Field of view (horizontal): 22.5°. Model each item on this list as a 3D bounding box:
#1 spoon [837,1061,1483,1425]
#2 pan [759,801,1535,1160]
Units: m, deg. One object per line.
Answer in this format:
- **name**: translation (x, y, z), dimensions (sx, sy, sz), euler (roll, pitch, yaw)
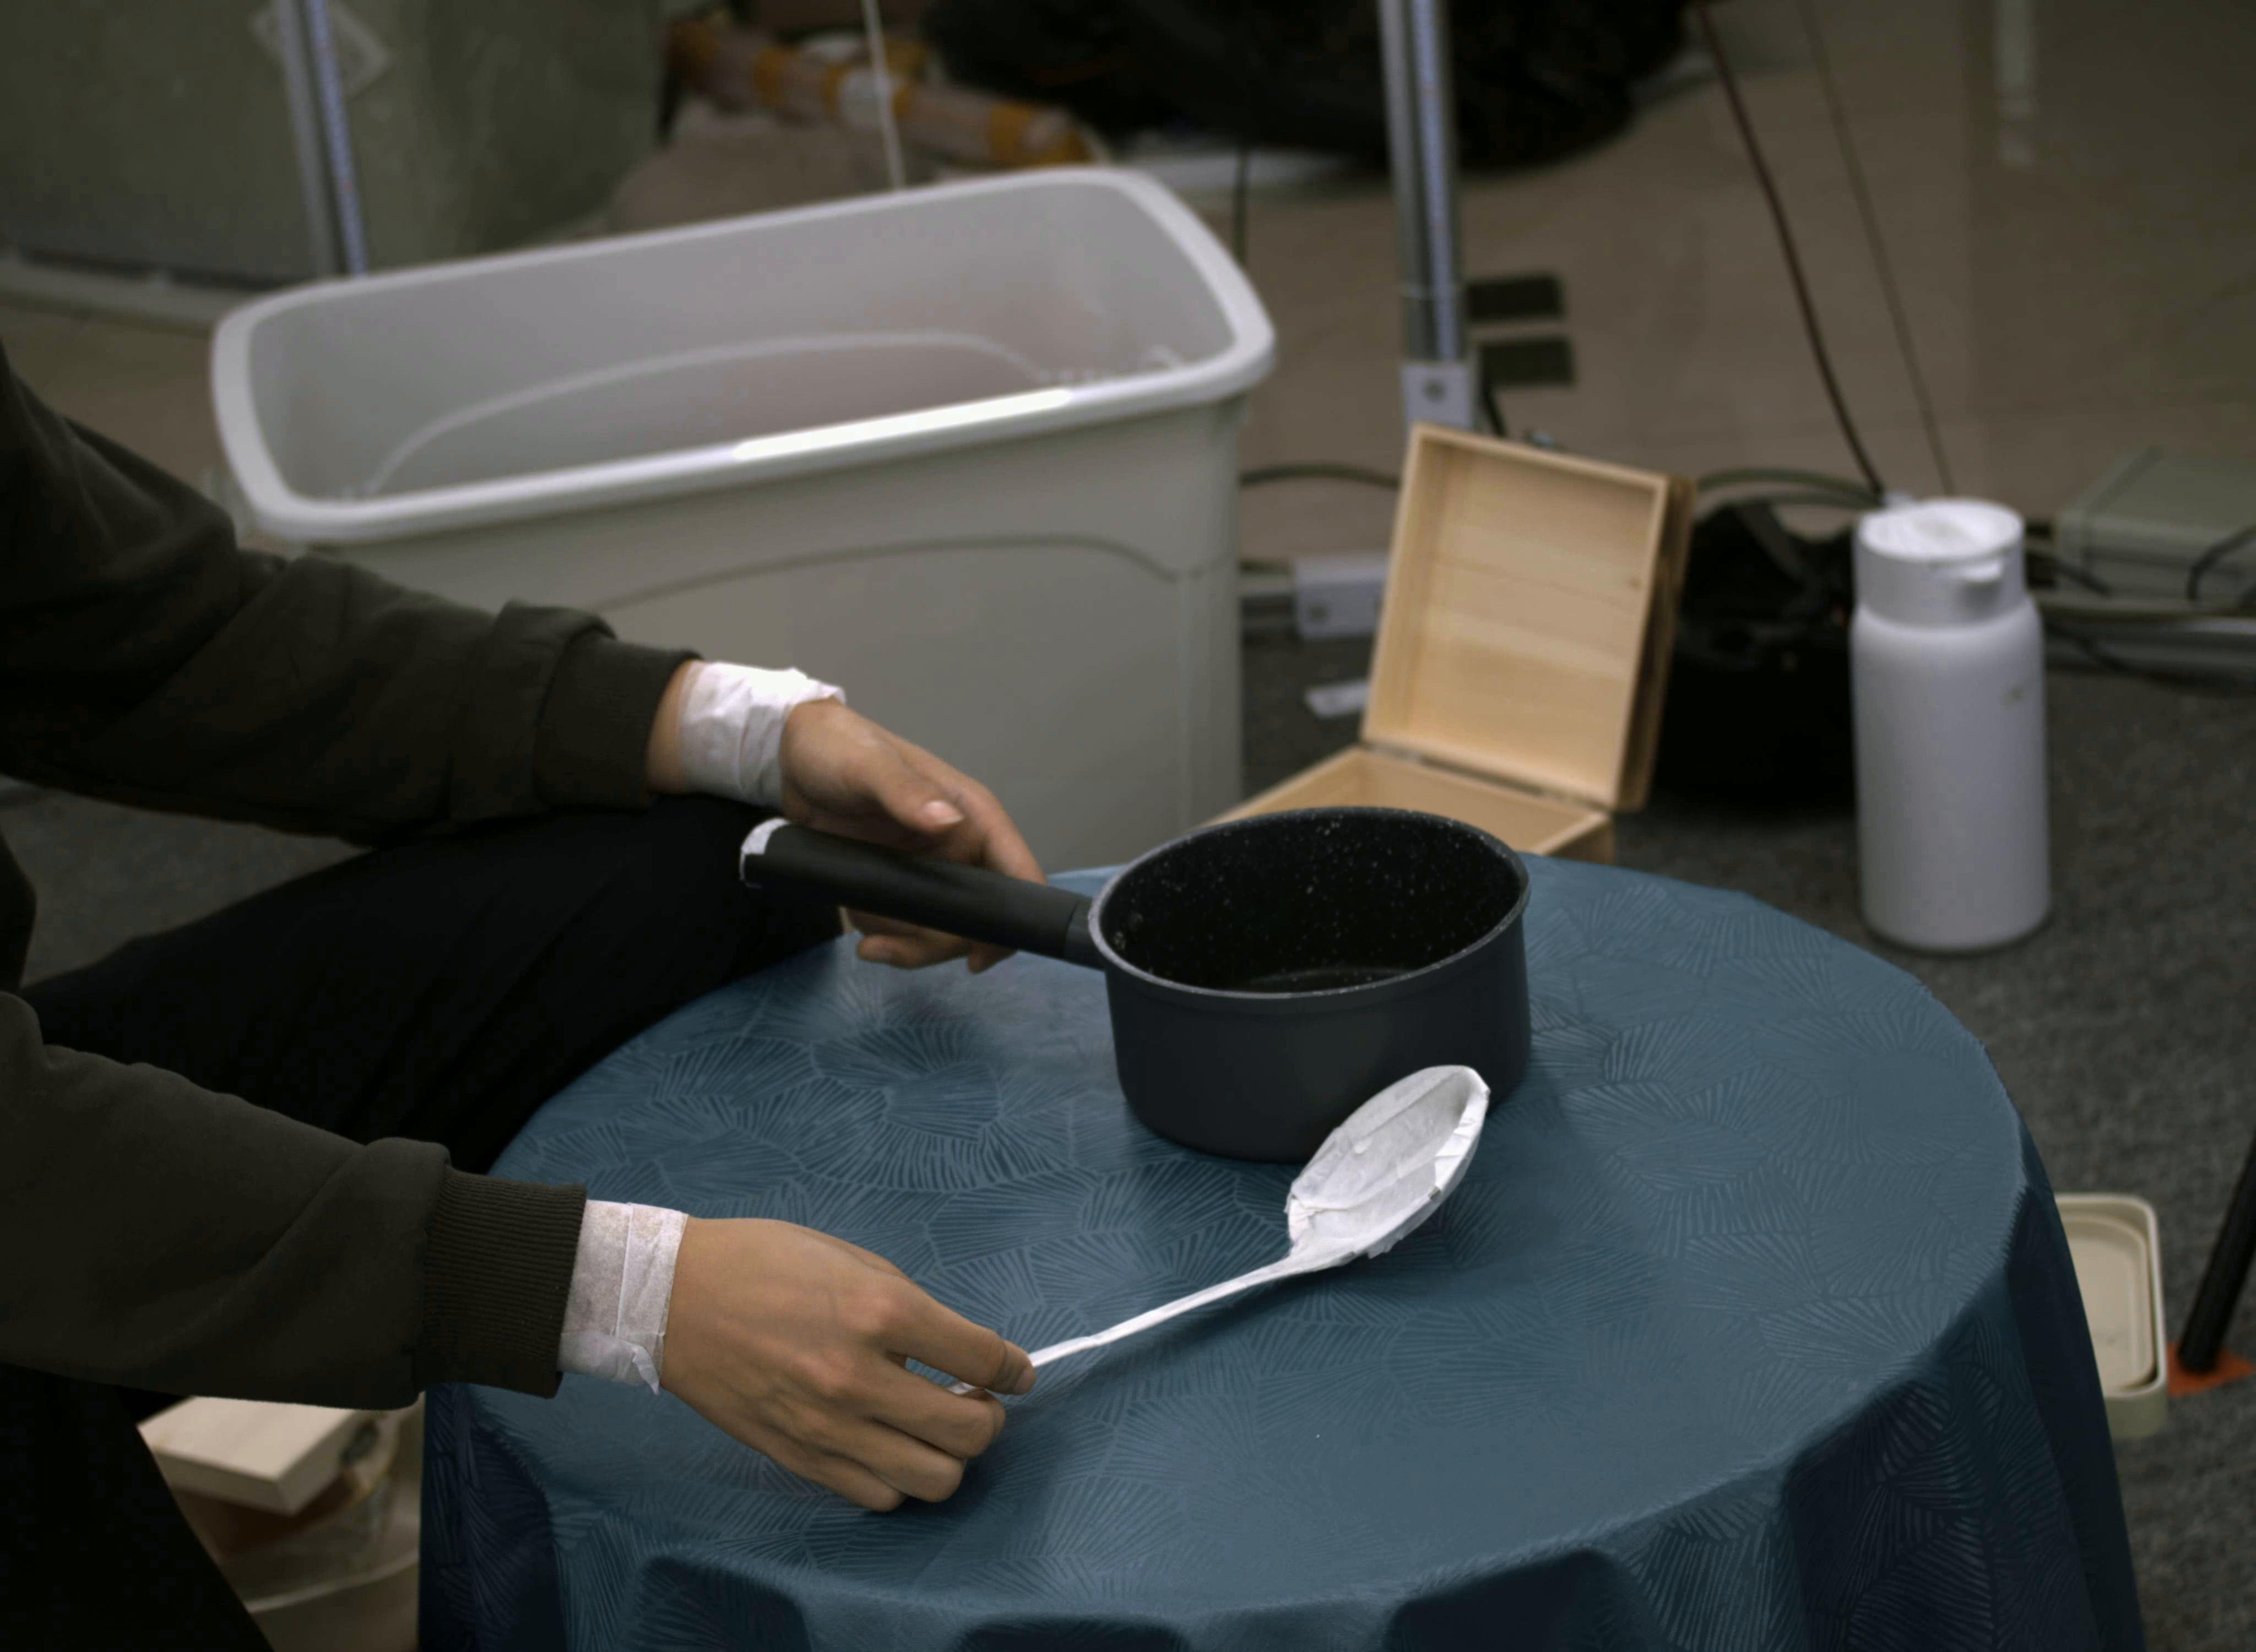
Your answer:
- **spoon**: translation (0.009, 0.149, 2.048), dimensions (0.276, 0.060, 0.100), euler (-16, 7, -28)
- **pan**: translation (0.003, 0.051, 2.240), dimensions (0.327, 0.088, 0.170), euler (7, 27, 25)
